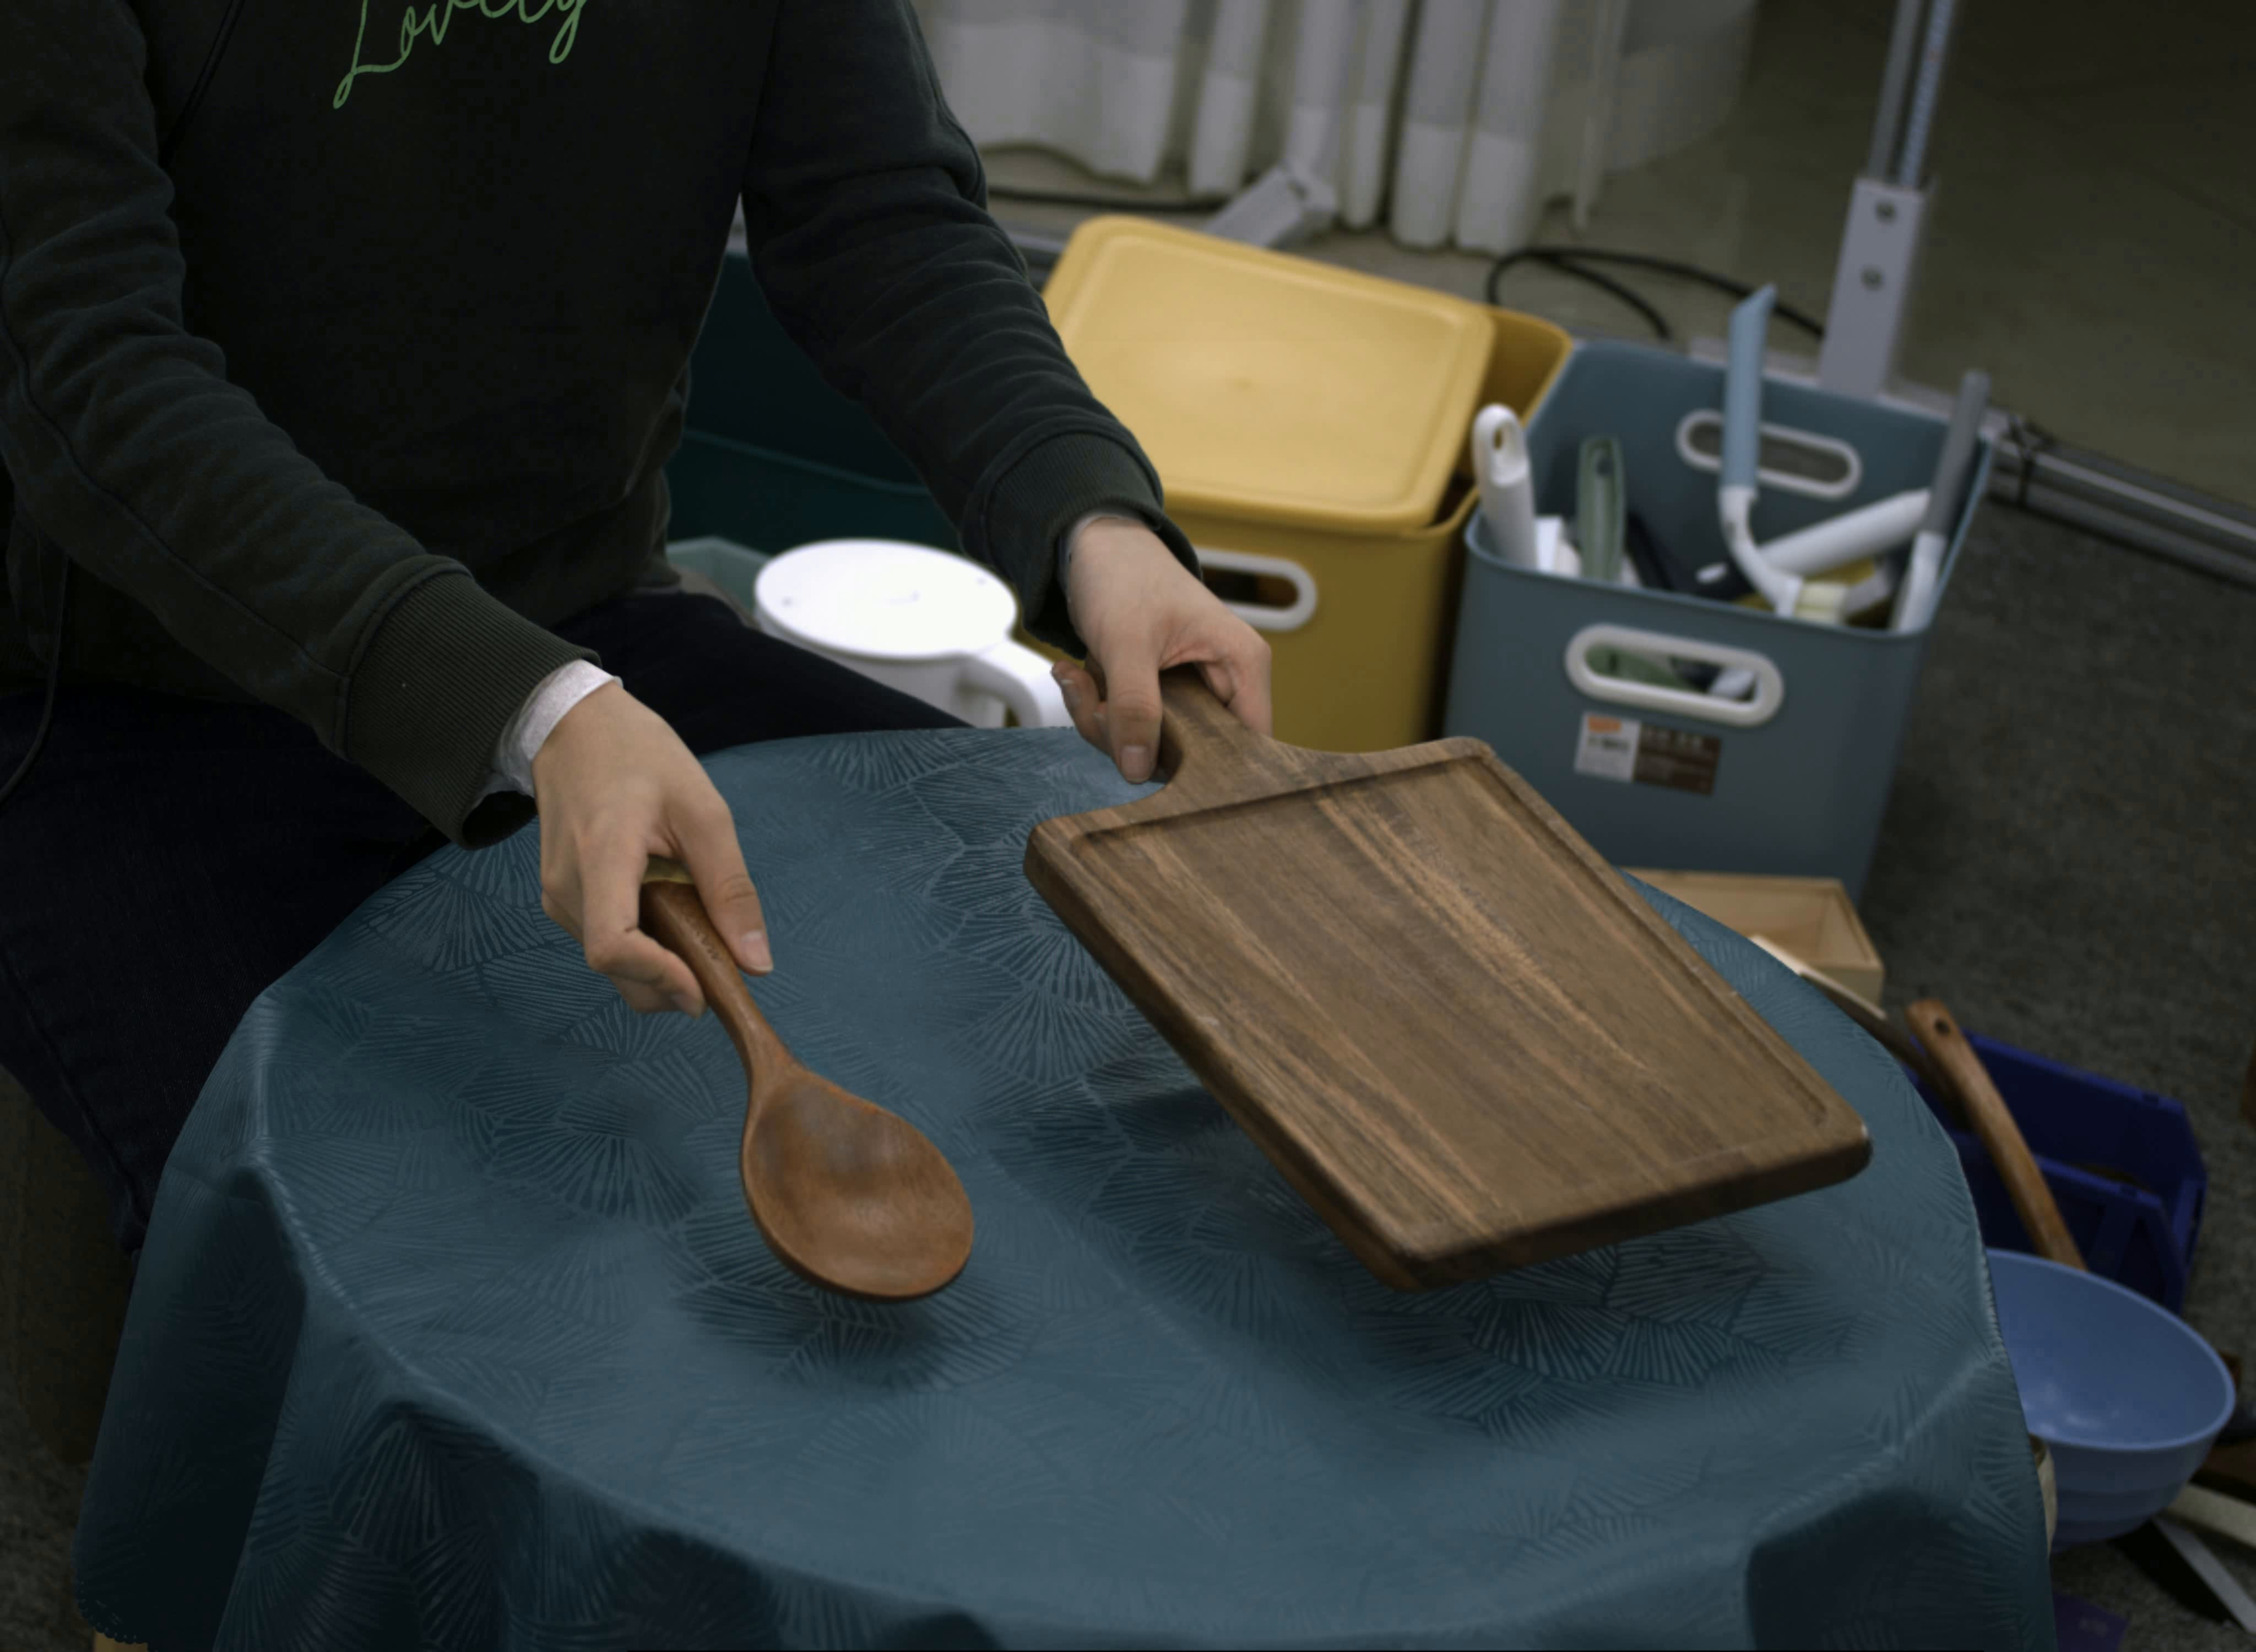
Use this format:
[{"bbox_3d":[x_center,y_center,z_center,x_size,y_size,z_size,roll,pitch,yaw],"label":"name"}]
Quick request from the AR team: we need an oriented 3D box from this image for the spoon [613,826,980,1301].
[{"bbox_3d":[-0.117,0.077,1.747,0.075,0.017,0.218,-13,50,-28],"label":"spoon"}]

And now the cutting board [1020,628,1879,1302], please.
[{"bbox_3d":[0.082,0.031,1.845,0.200,0.023,0.355,-12,40,-29],"label":"cutting board"}]
